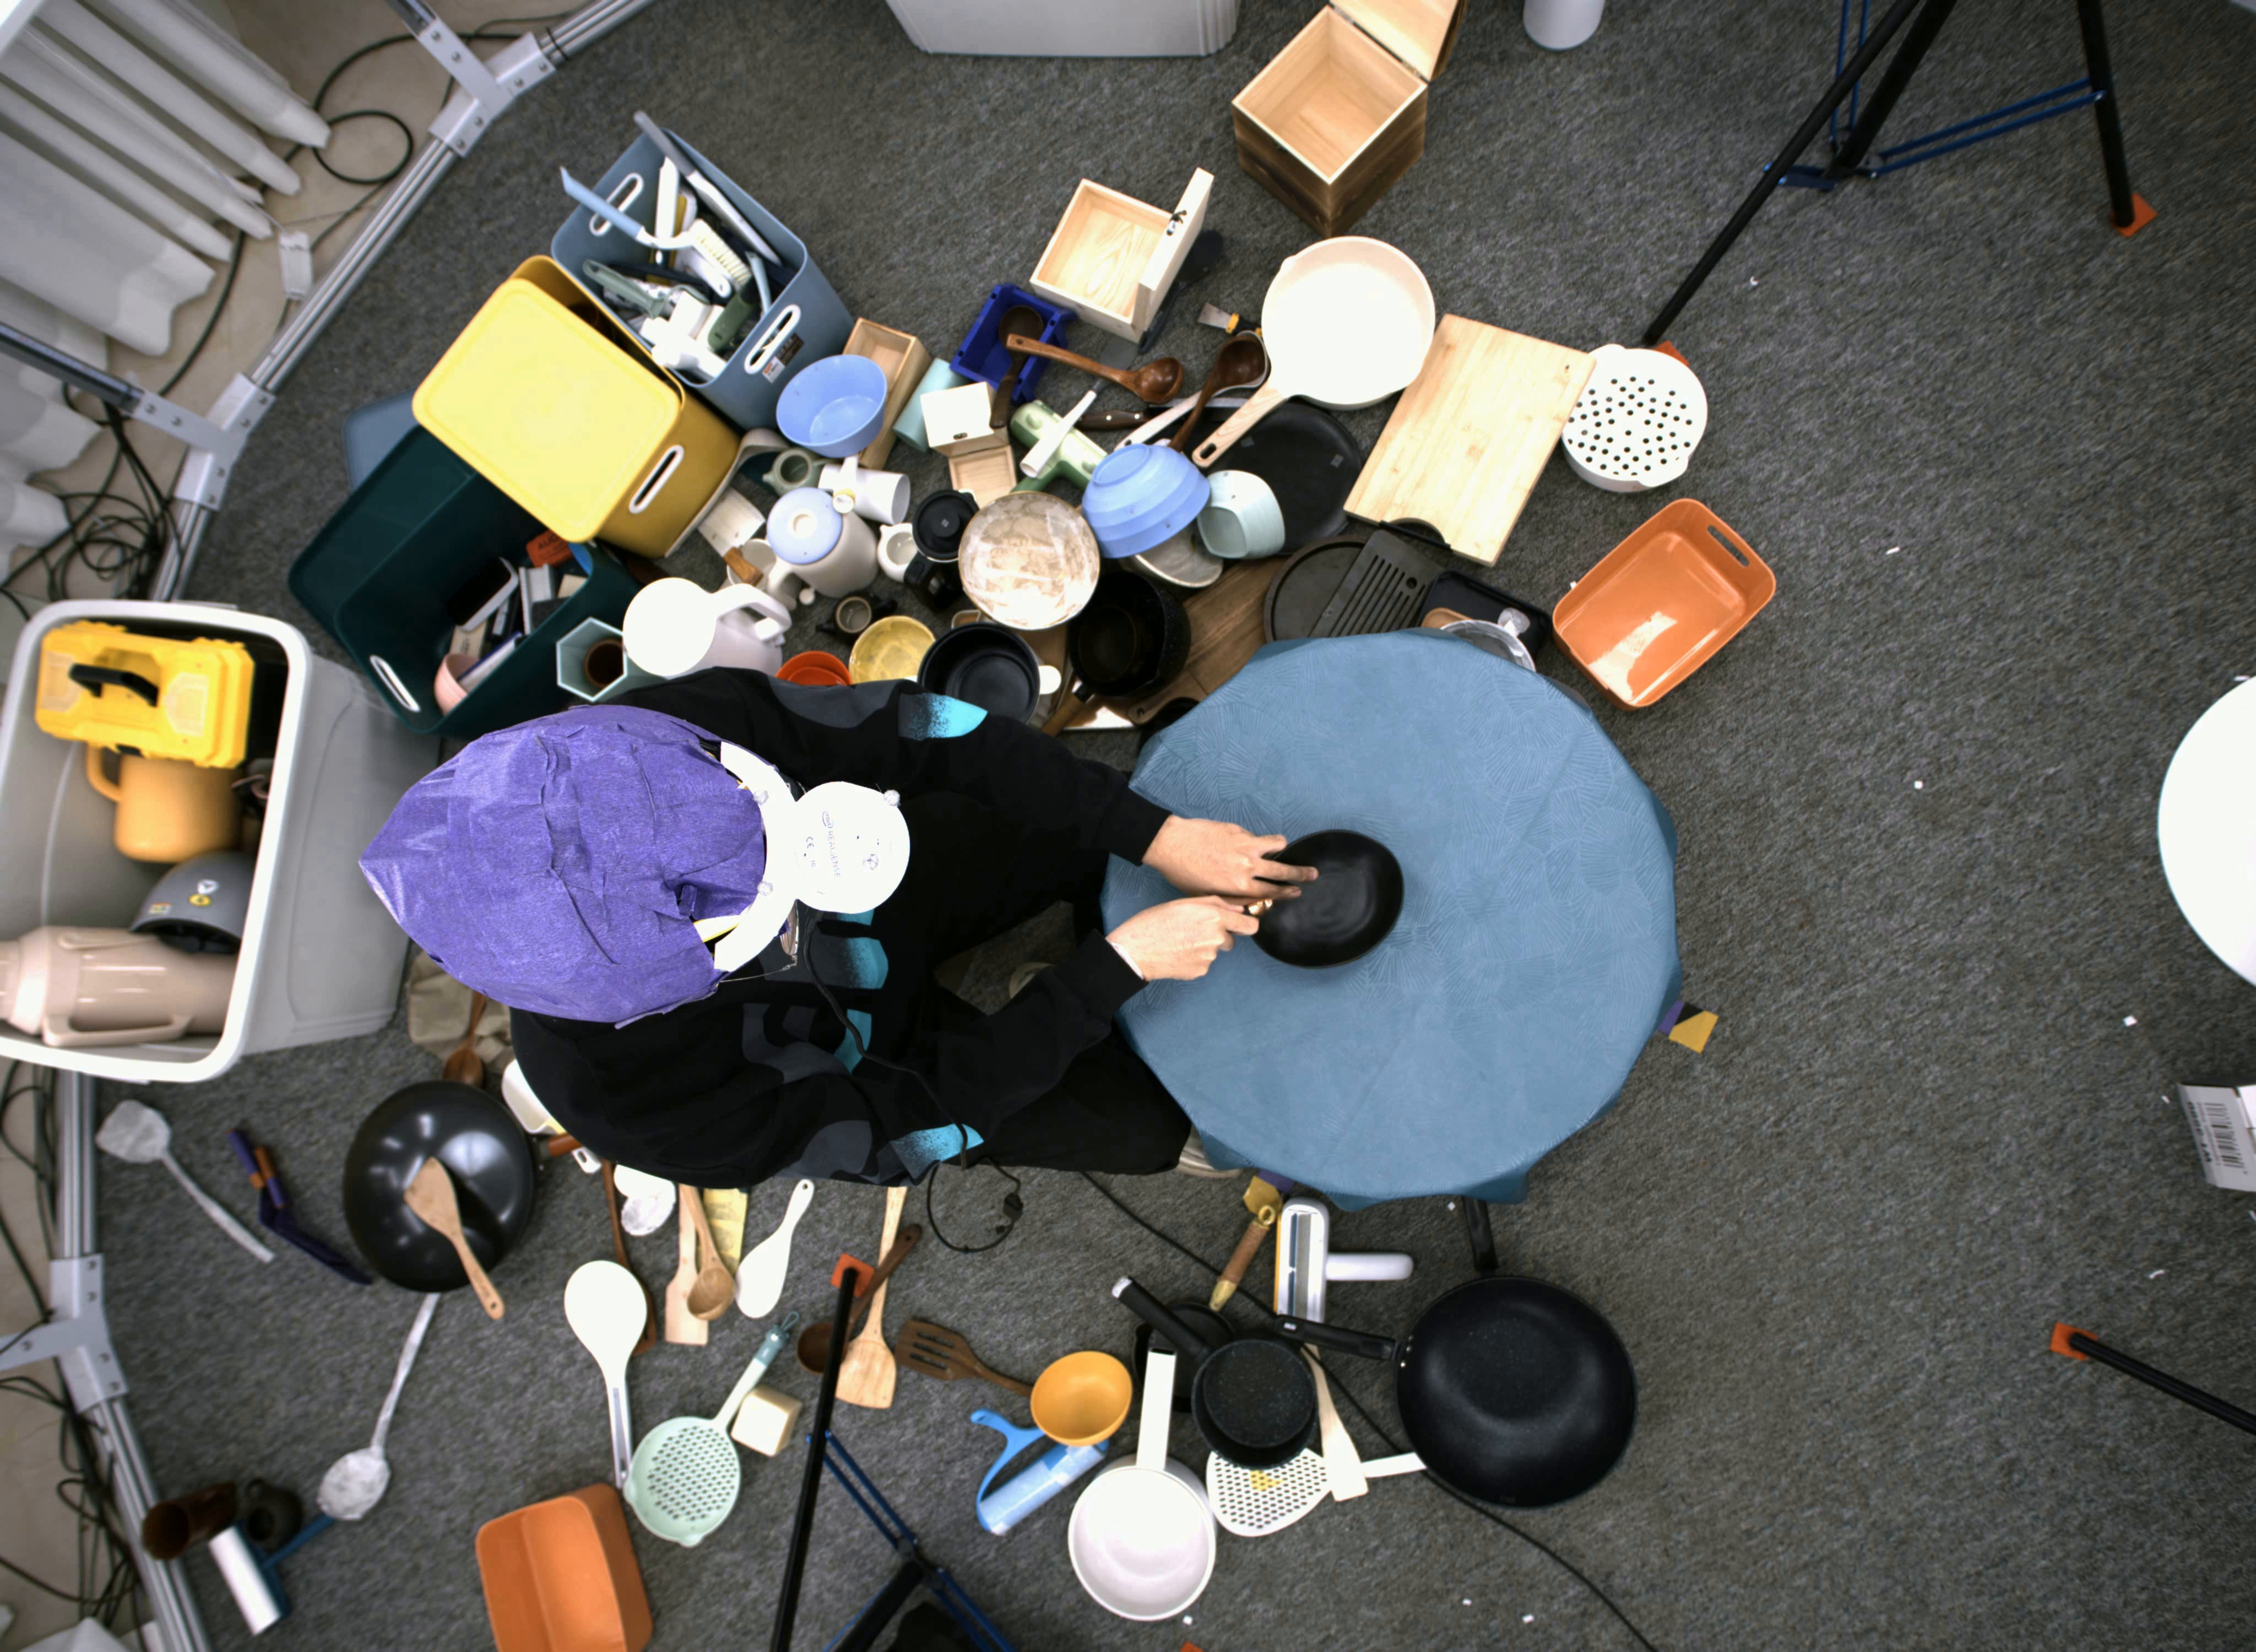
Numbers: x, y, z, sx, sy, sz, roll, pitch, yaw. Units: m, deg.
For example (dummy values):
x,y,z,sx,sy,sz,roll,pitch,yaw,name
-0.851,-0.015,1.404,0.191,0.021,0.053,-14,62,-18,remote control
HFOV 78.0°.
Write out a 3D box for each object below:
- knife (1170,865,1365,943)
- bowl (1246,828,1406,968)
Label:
x,y,z,sx,sy,sz,roll,pitch,yaw,name
0.144,0.076,1.402,0.223,0.026,0.017,-19,91,-19,knife
0.207,0.077,1.439,0.171,0.066,0.136,-27,82,10,bowl
